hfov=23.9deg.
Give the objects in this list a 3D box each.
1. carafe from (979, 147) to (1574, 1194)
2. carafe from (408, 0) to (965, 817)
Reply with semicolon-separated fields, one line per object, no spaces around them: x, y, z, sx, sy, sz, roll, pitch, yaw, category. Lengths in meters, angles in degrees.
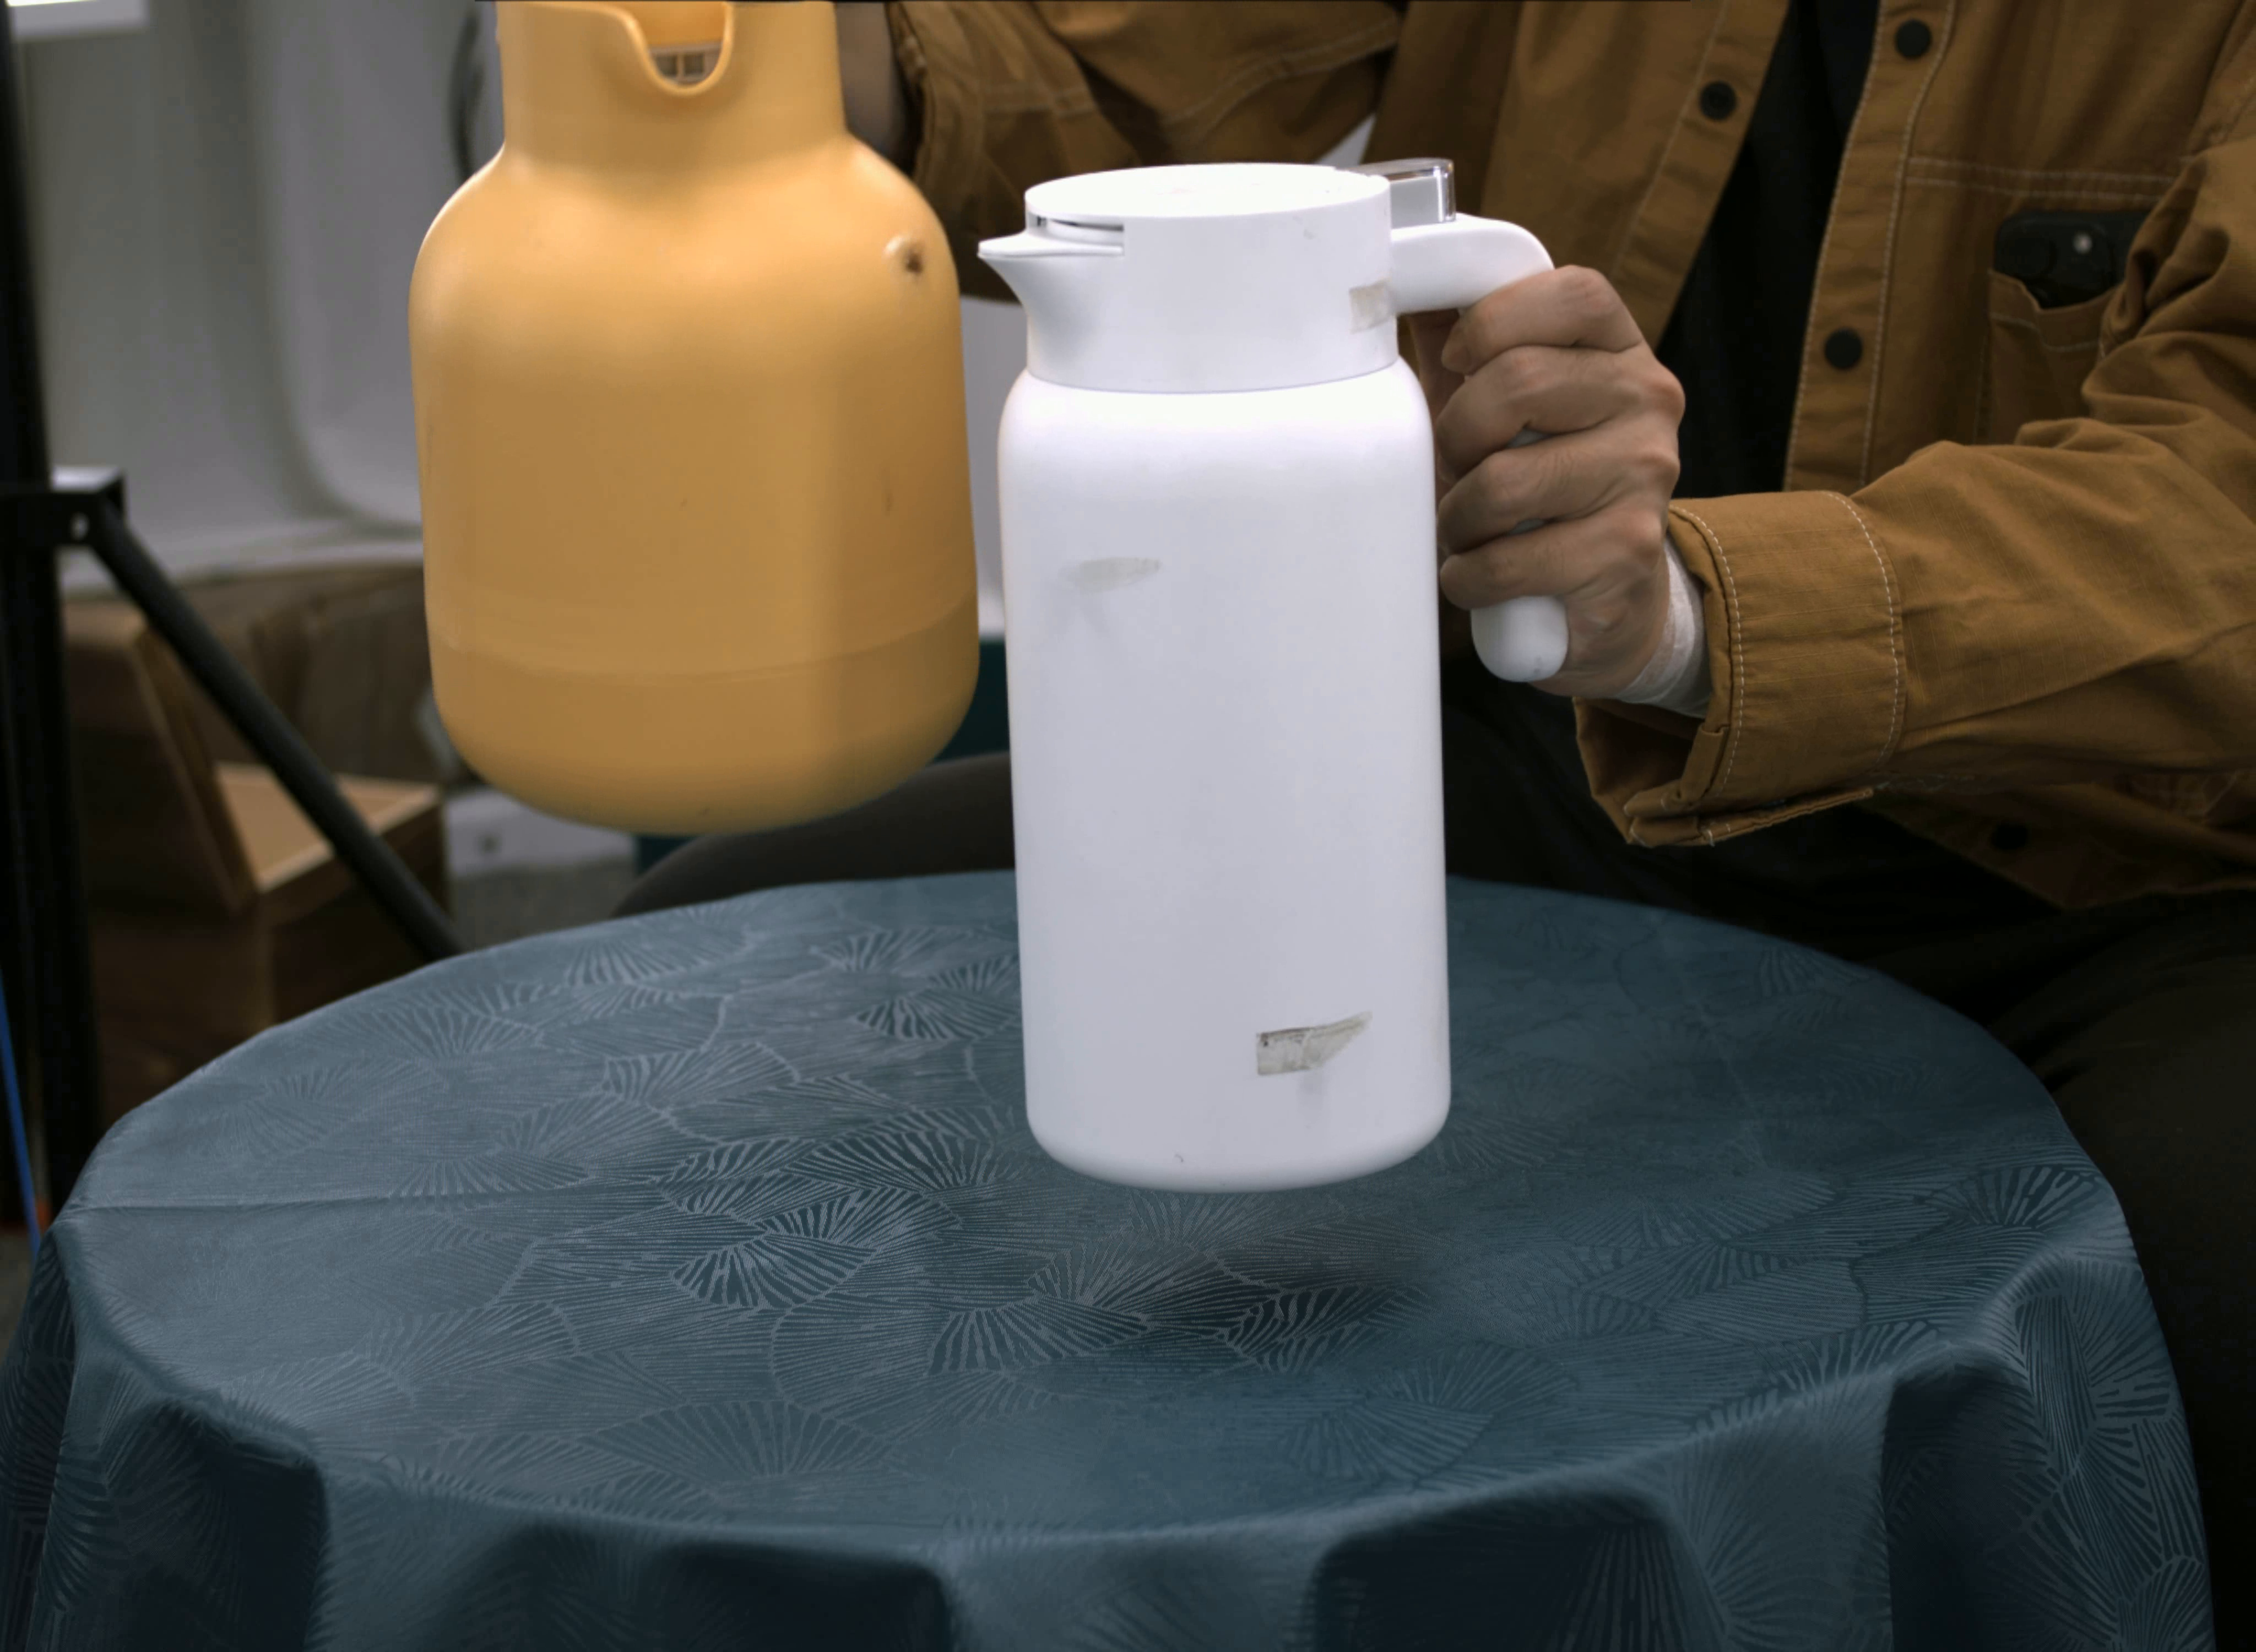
0.041;-0.046;1.435;0.169;0.269;0.126;-9;13;-27;carafe
-0.129;-0.151;1.572;0.162;0.260;0.204;-1;22;-6;carafe
